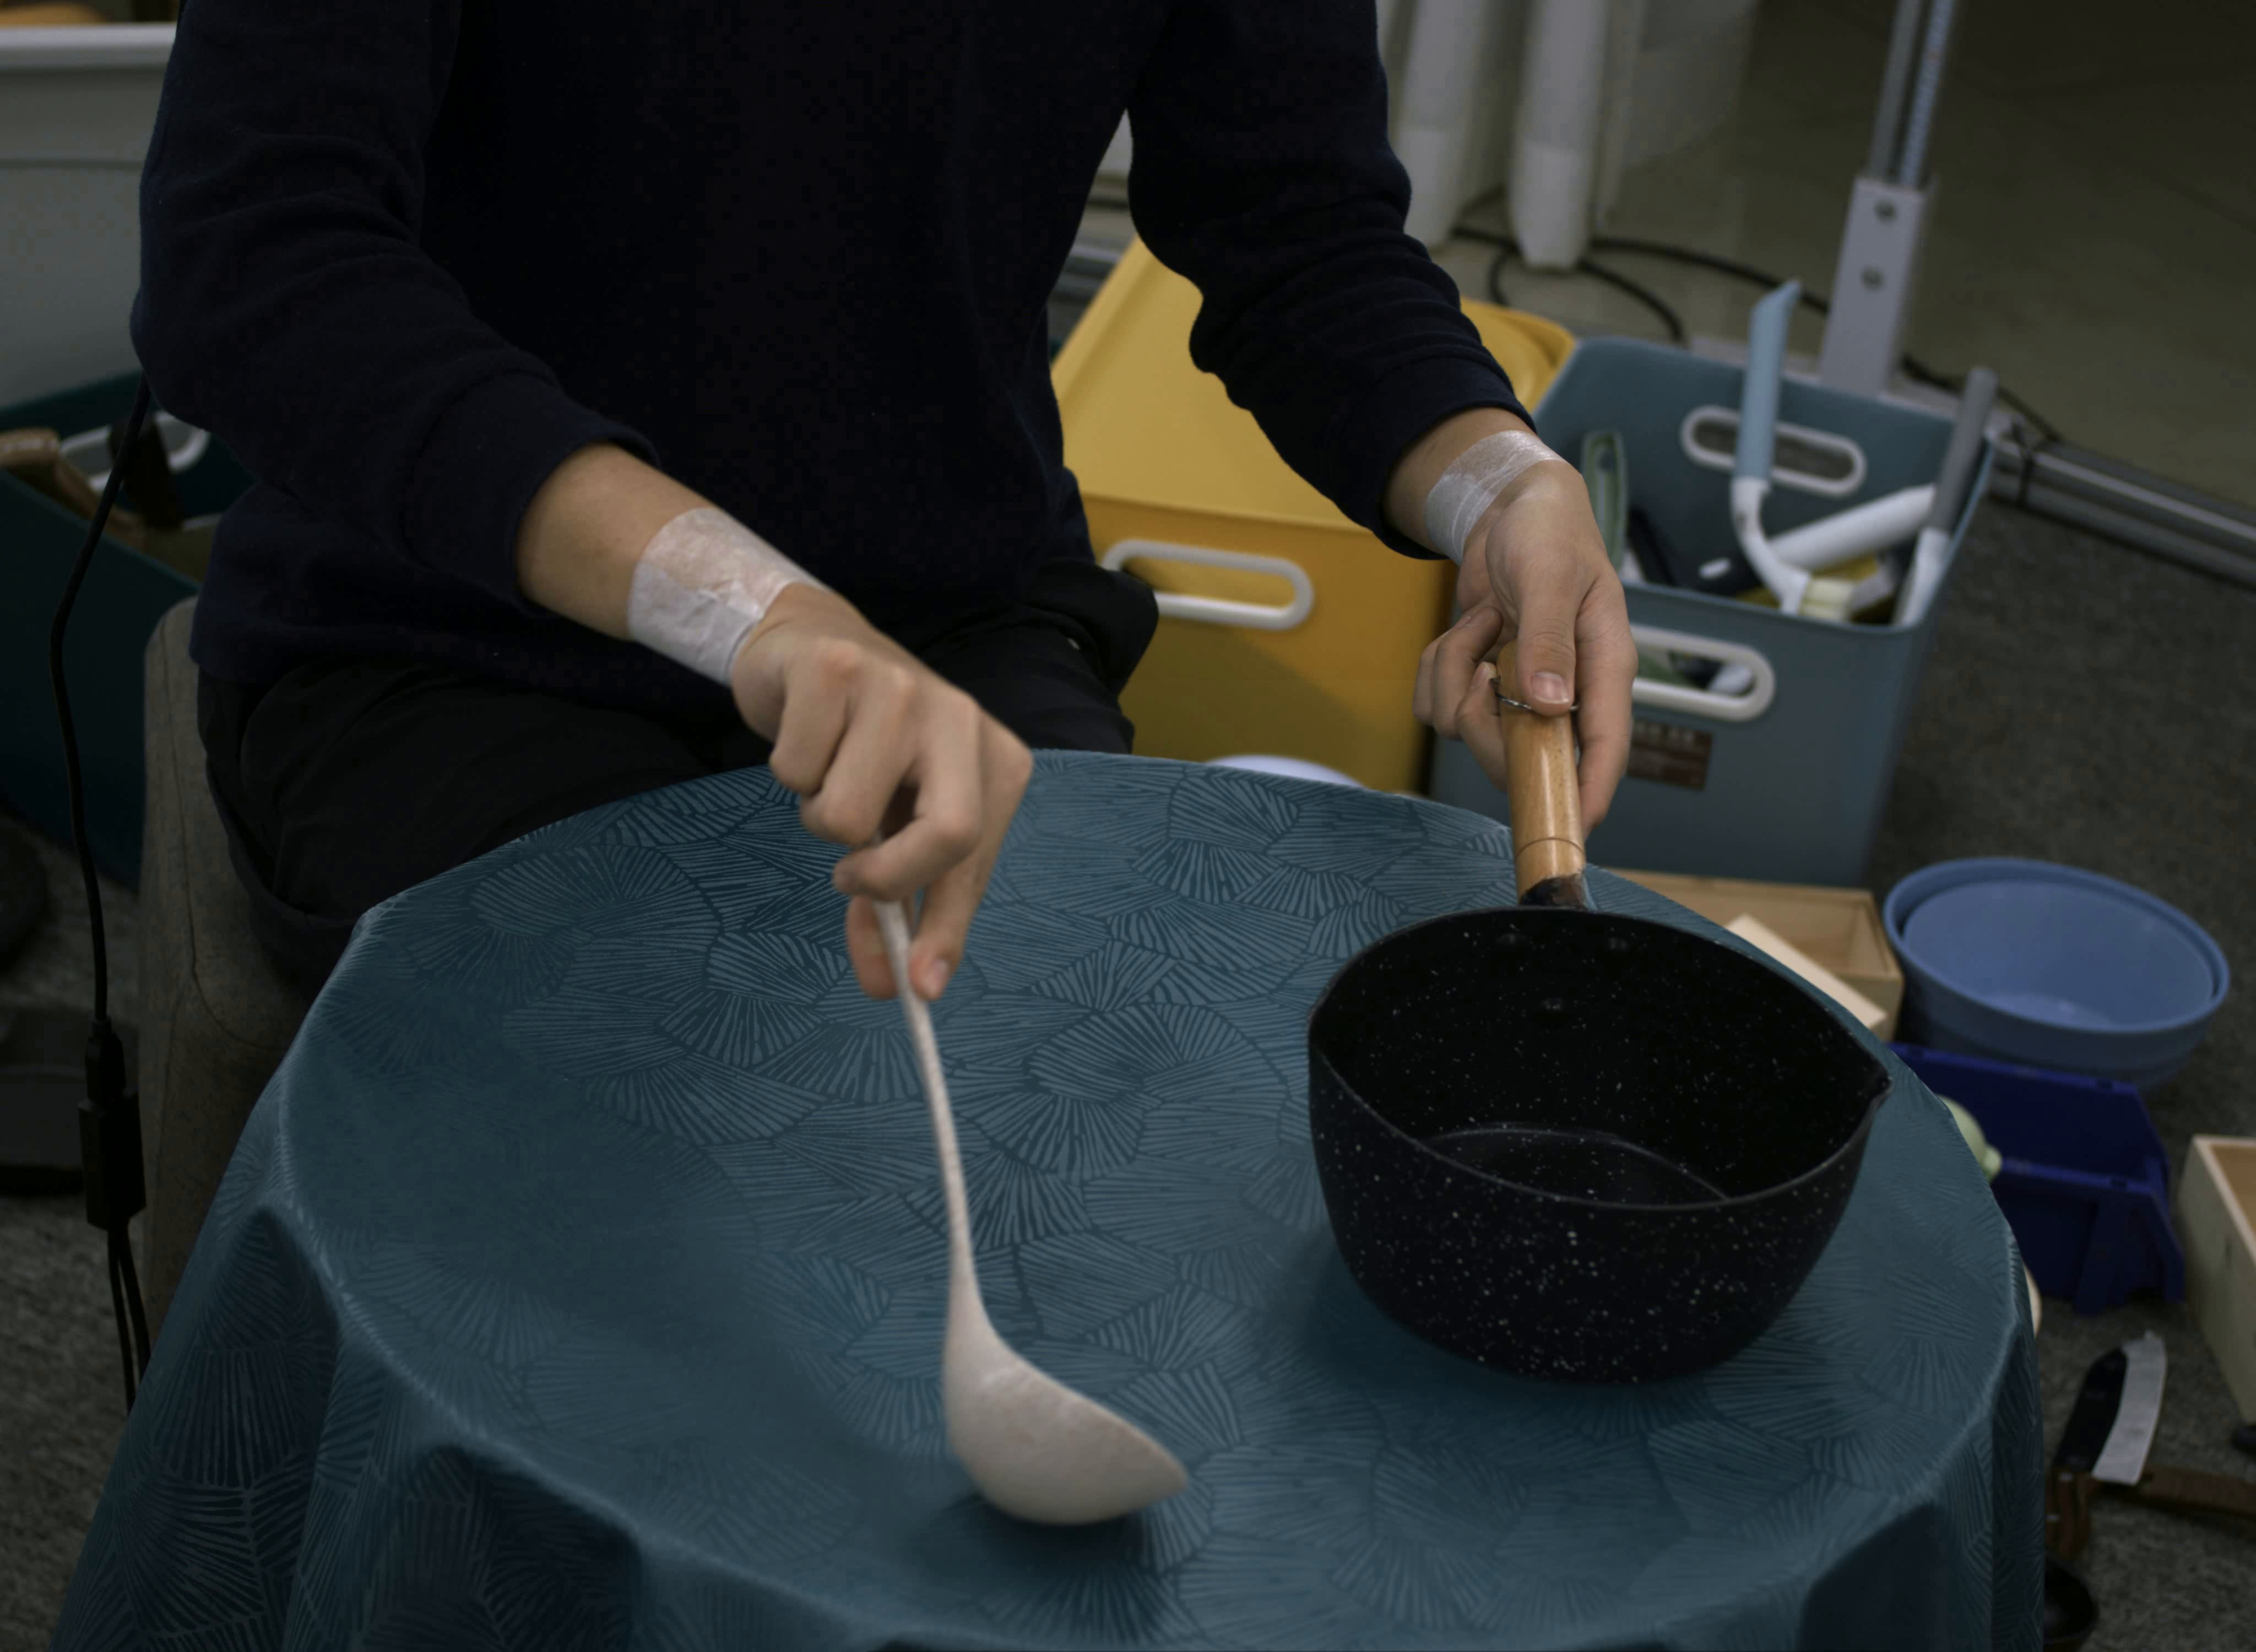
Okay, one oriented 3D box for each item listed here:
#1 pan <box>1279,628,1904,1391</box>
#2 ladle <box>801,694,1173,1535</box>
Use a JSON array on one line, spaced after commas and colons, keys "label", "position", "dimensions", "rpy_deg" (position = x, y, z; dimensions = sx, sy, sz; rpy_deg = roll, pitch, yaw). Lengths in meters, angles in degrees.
[{"label": "pan", "position": [0.146, 0.059, 1.829], "dimensions": [0.206, 0.108, 0.345], "rpy_deg": [3, 31, -5]}, {"label": "ladle", "position": [-0.044, 0.083, 1.635], "dimensions": [0.069, 0.089, 0.277], "rpy_deg": [-10, 72, -3]}]
